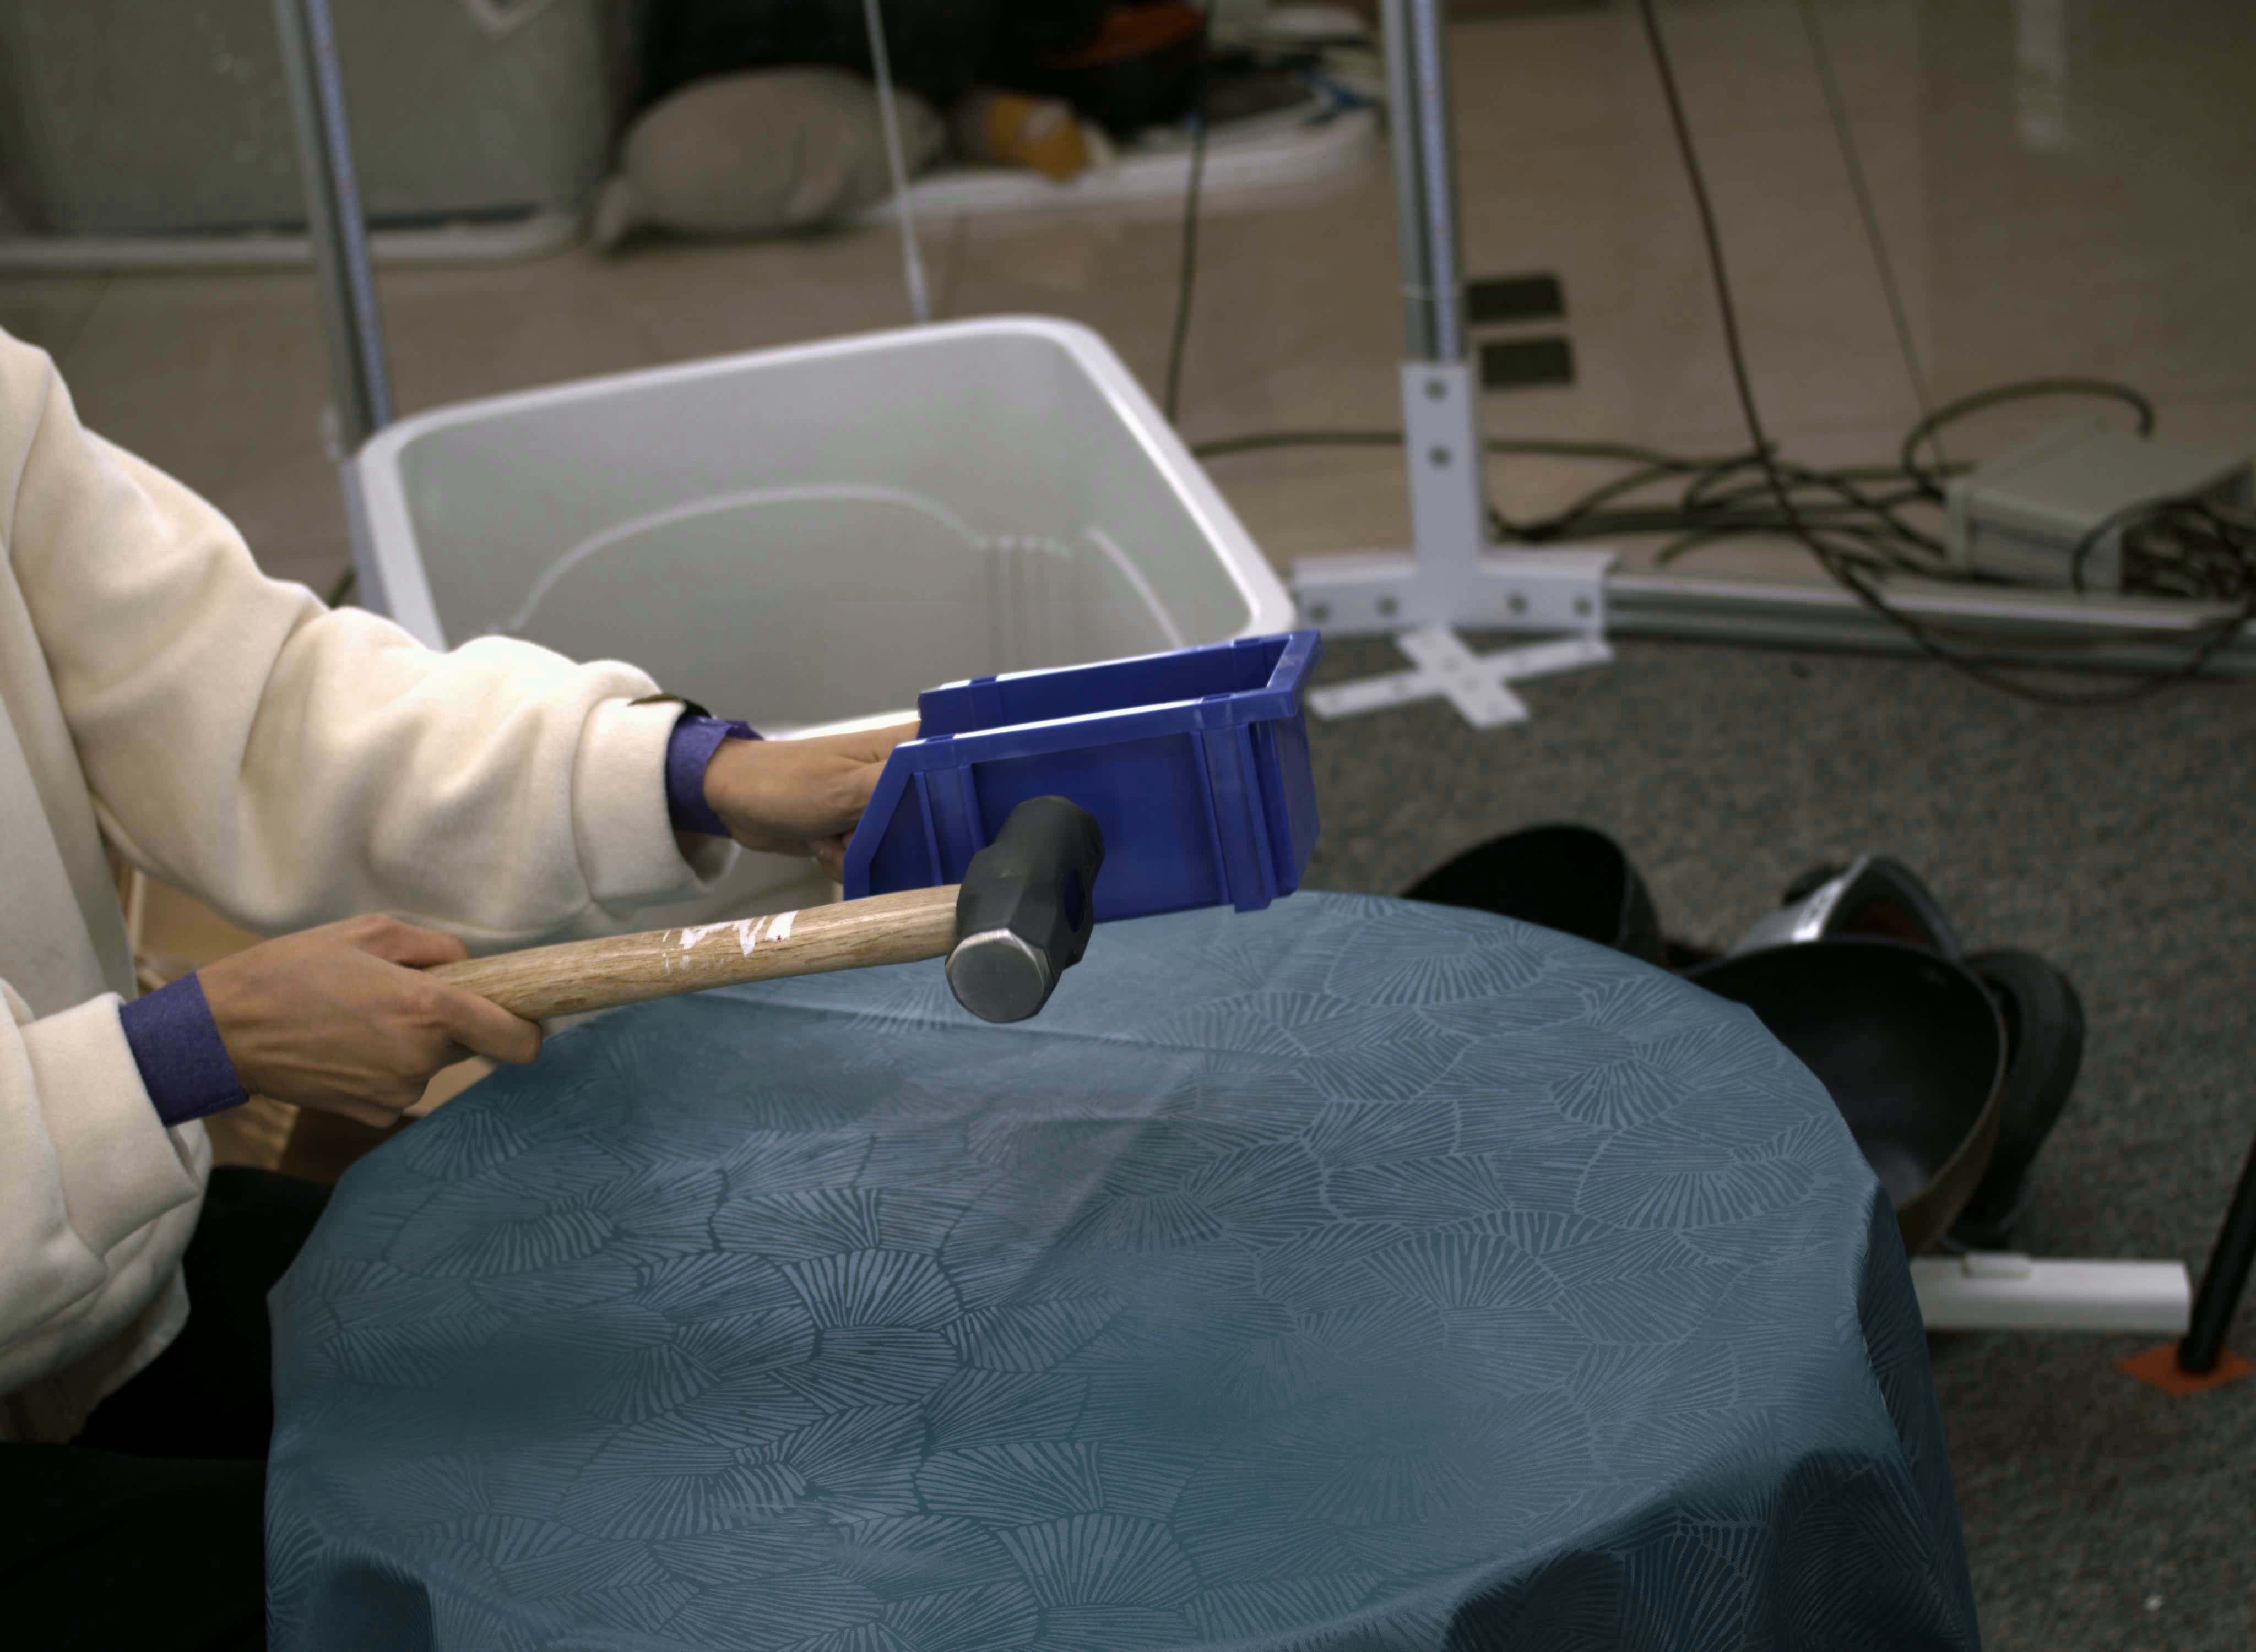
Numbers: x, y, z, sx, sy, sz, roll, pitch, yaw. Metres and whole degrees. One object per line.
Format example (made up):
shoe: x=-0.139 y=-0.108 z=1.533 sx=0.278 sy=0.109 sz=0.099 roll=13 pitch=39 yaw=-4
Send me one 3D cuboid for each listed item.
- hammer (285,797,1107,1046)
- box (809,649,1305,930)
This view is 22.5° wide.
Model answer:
hammer: x=-0.162 y=0.047 z=2.053 sx=0.305 sy=0.039 sz=0.105 roll=-8 pitch=26 yaw=17
box: x=-0.025 y=-0.009 z=2.133 sx=0.179 sy=0.082 sz=0.123 roll=-5 pitch=13 yaw=10
